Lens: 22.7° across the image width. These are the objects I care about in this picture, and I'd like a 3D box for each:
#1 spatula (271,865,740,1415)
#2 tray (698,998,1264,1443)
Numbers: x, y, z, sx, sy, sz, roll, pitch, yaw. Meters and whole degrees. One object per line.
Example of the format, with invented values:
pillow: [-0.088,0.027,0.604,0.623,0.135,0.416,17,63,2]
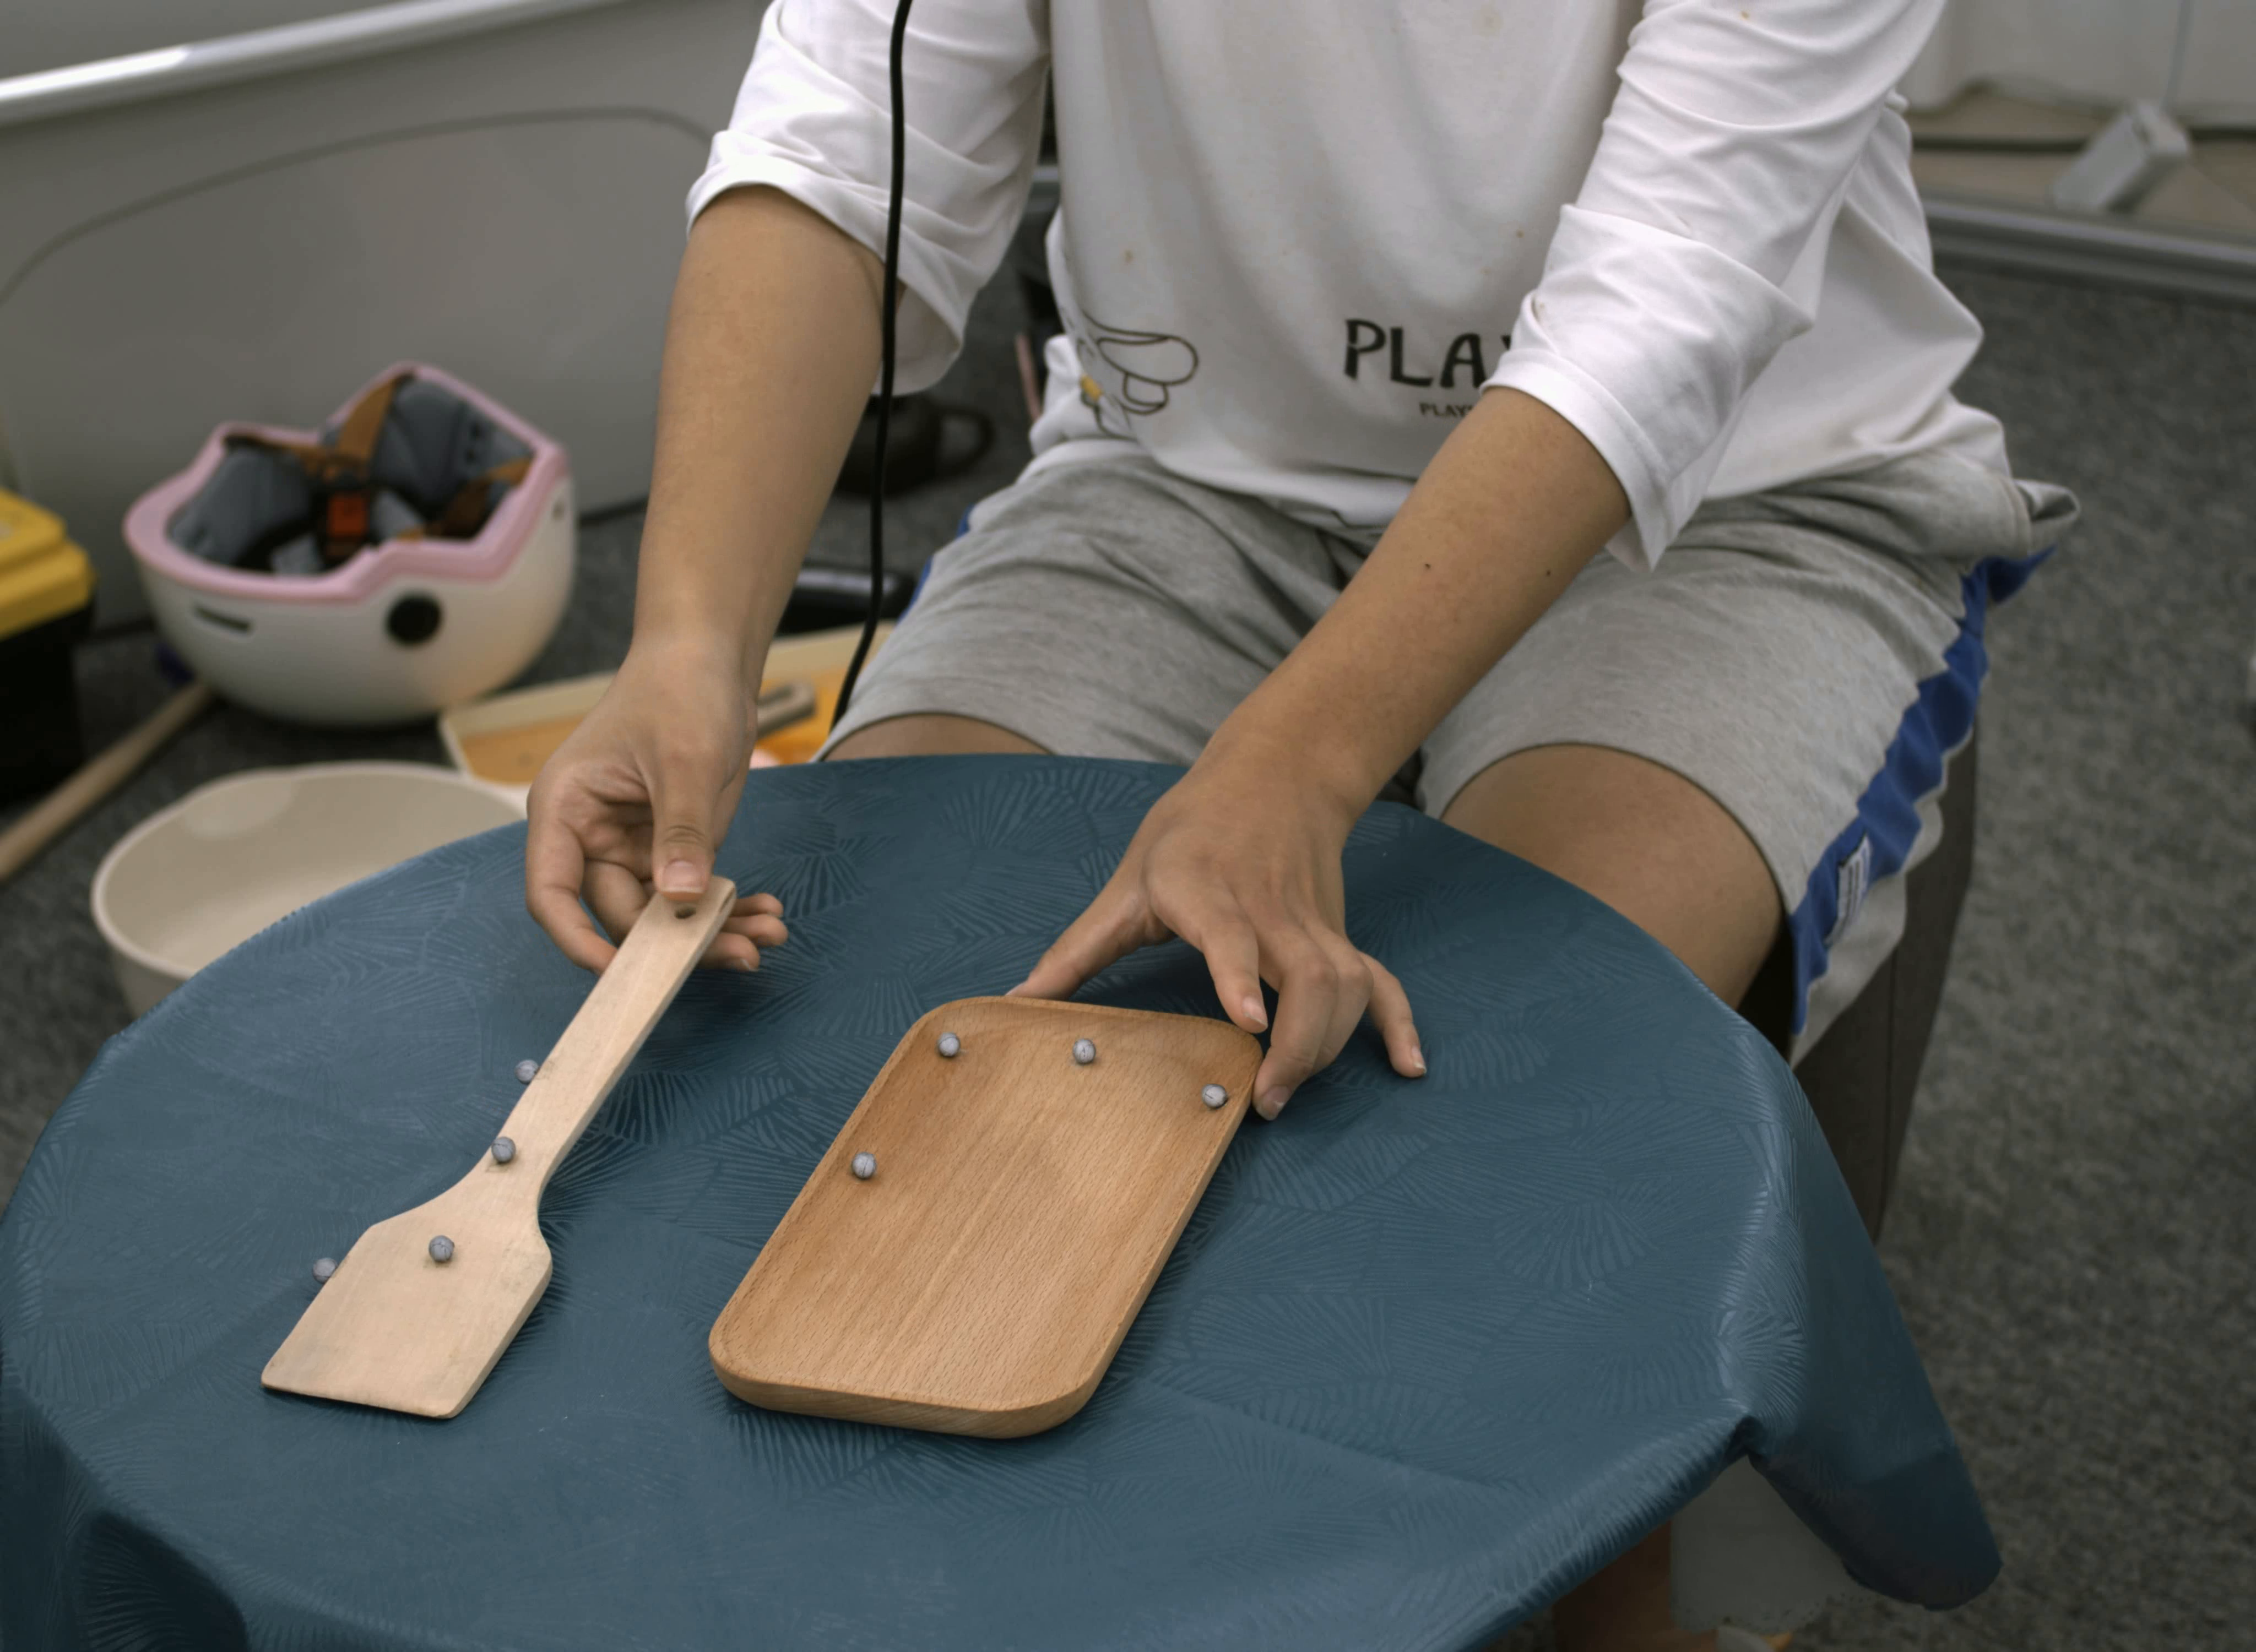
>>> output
spatula: [-0.195,0.100,1.881,0.072,0.010,0.299,7,37,18]
tray: [-0.044,0.126,1.842,0.129,0.022,0.255,4,29,18]
